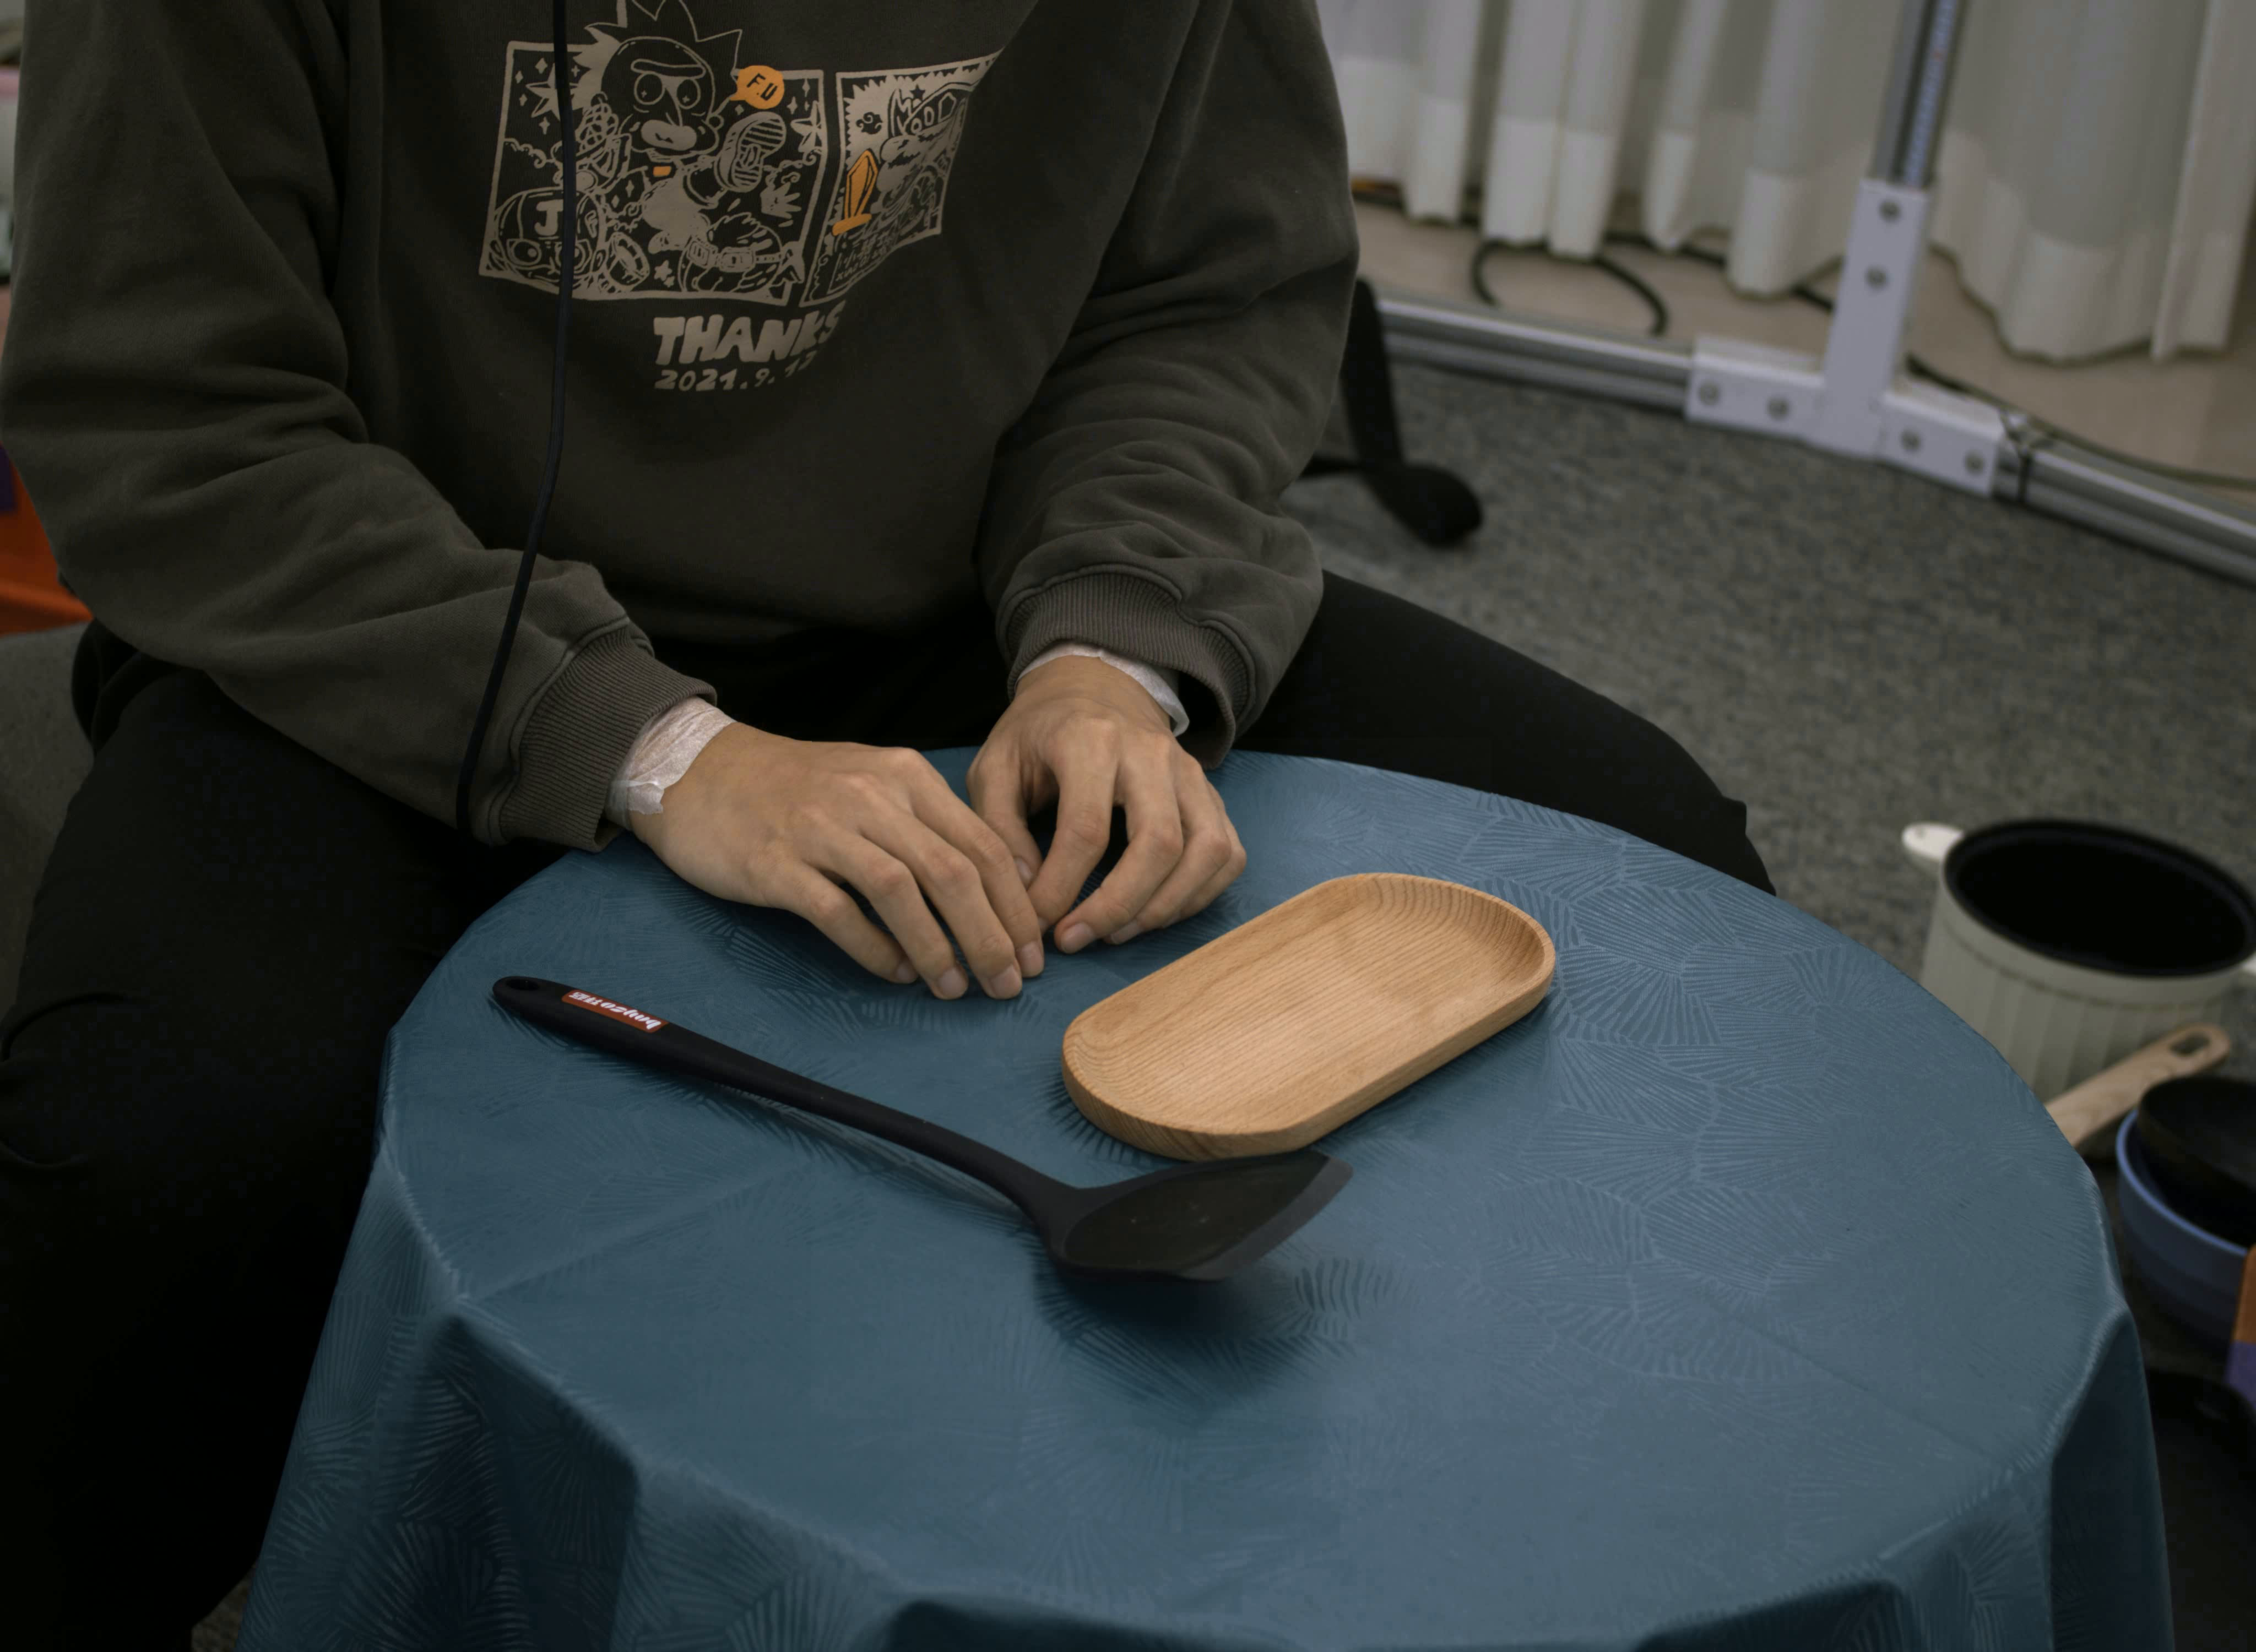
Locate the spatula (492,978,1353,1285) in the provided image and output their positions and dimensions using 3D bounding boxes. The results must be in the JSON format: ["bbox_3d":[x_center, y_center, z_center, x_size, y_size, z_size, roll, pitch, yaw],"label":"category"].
[{"bbox_3d":[-0.083,0.095,1.801,0.328,0.040,0.099,20,29,26],"label":"spatula"}]

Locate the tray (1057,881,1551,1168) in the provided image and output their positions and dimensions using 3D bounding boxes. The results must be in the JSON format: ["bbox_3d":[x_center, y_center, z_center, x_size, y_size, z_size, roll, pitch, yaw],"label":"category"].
[{"bbox_3d":[0.065,0.070,1.908,0.102,0.020,0.230,24,32,31],"label":"tray"}]
